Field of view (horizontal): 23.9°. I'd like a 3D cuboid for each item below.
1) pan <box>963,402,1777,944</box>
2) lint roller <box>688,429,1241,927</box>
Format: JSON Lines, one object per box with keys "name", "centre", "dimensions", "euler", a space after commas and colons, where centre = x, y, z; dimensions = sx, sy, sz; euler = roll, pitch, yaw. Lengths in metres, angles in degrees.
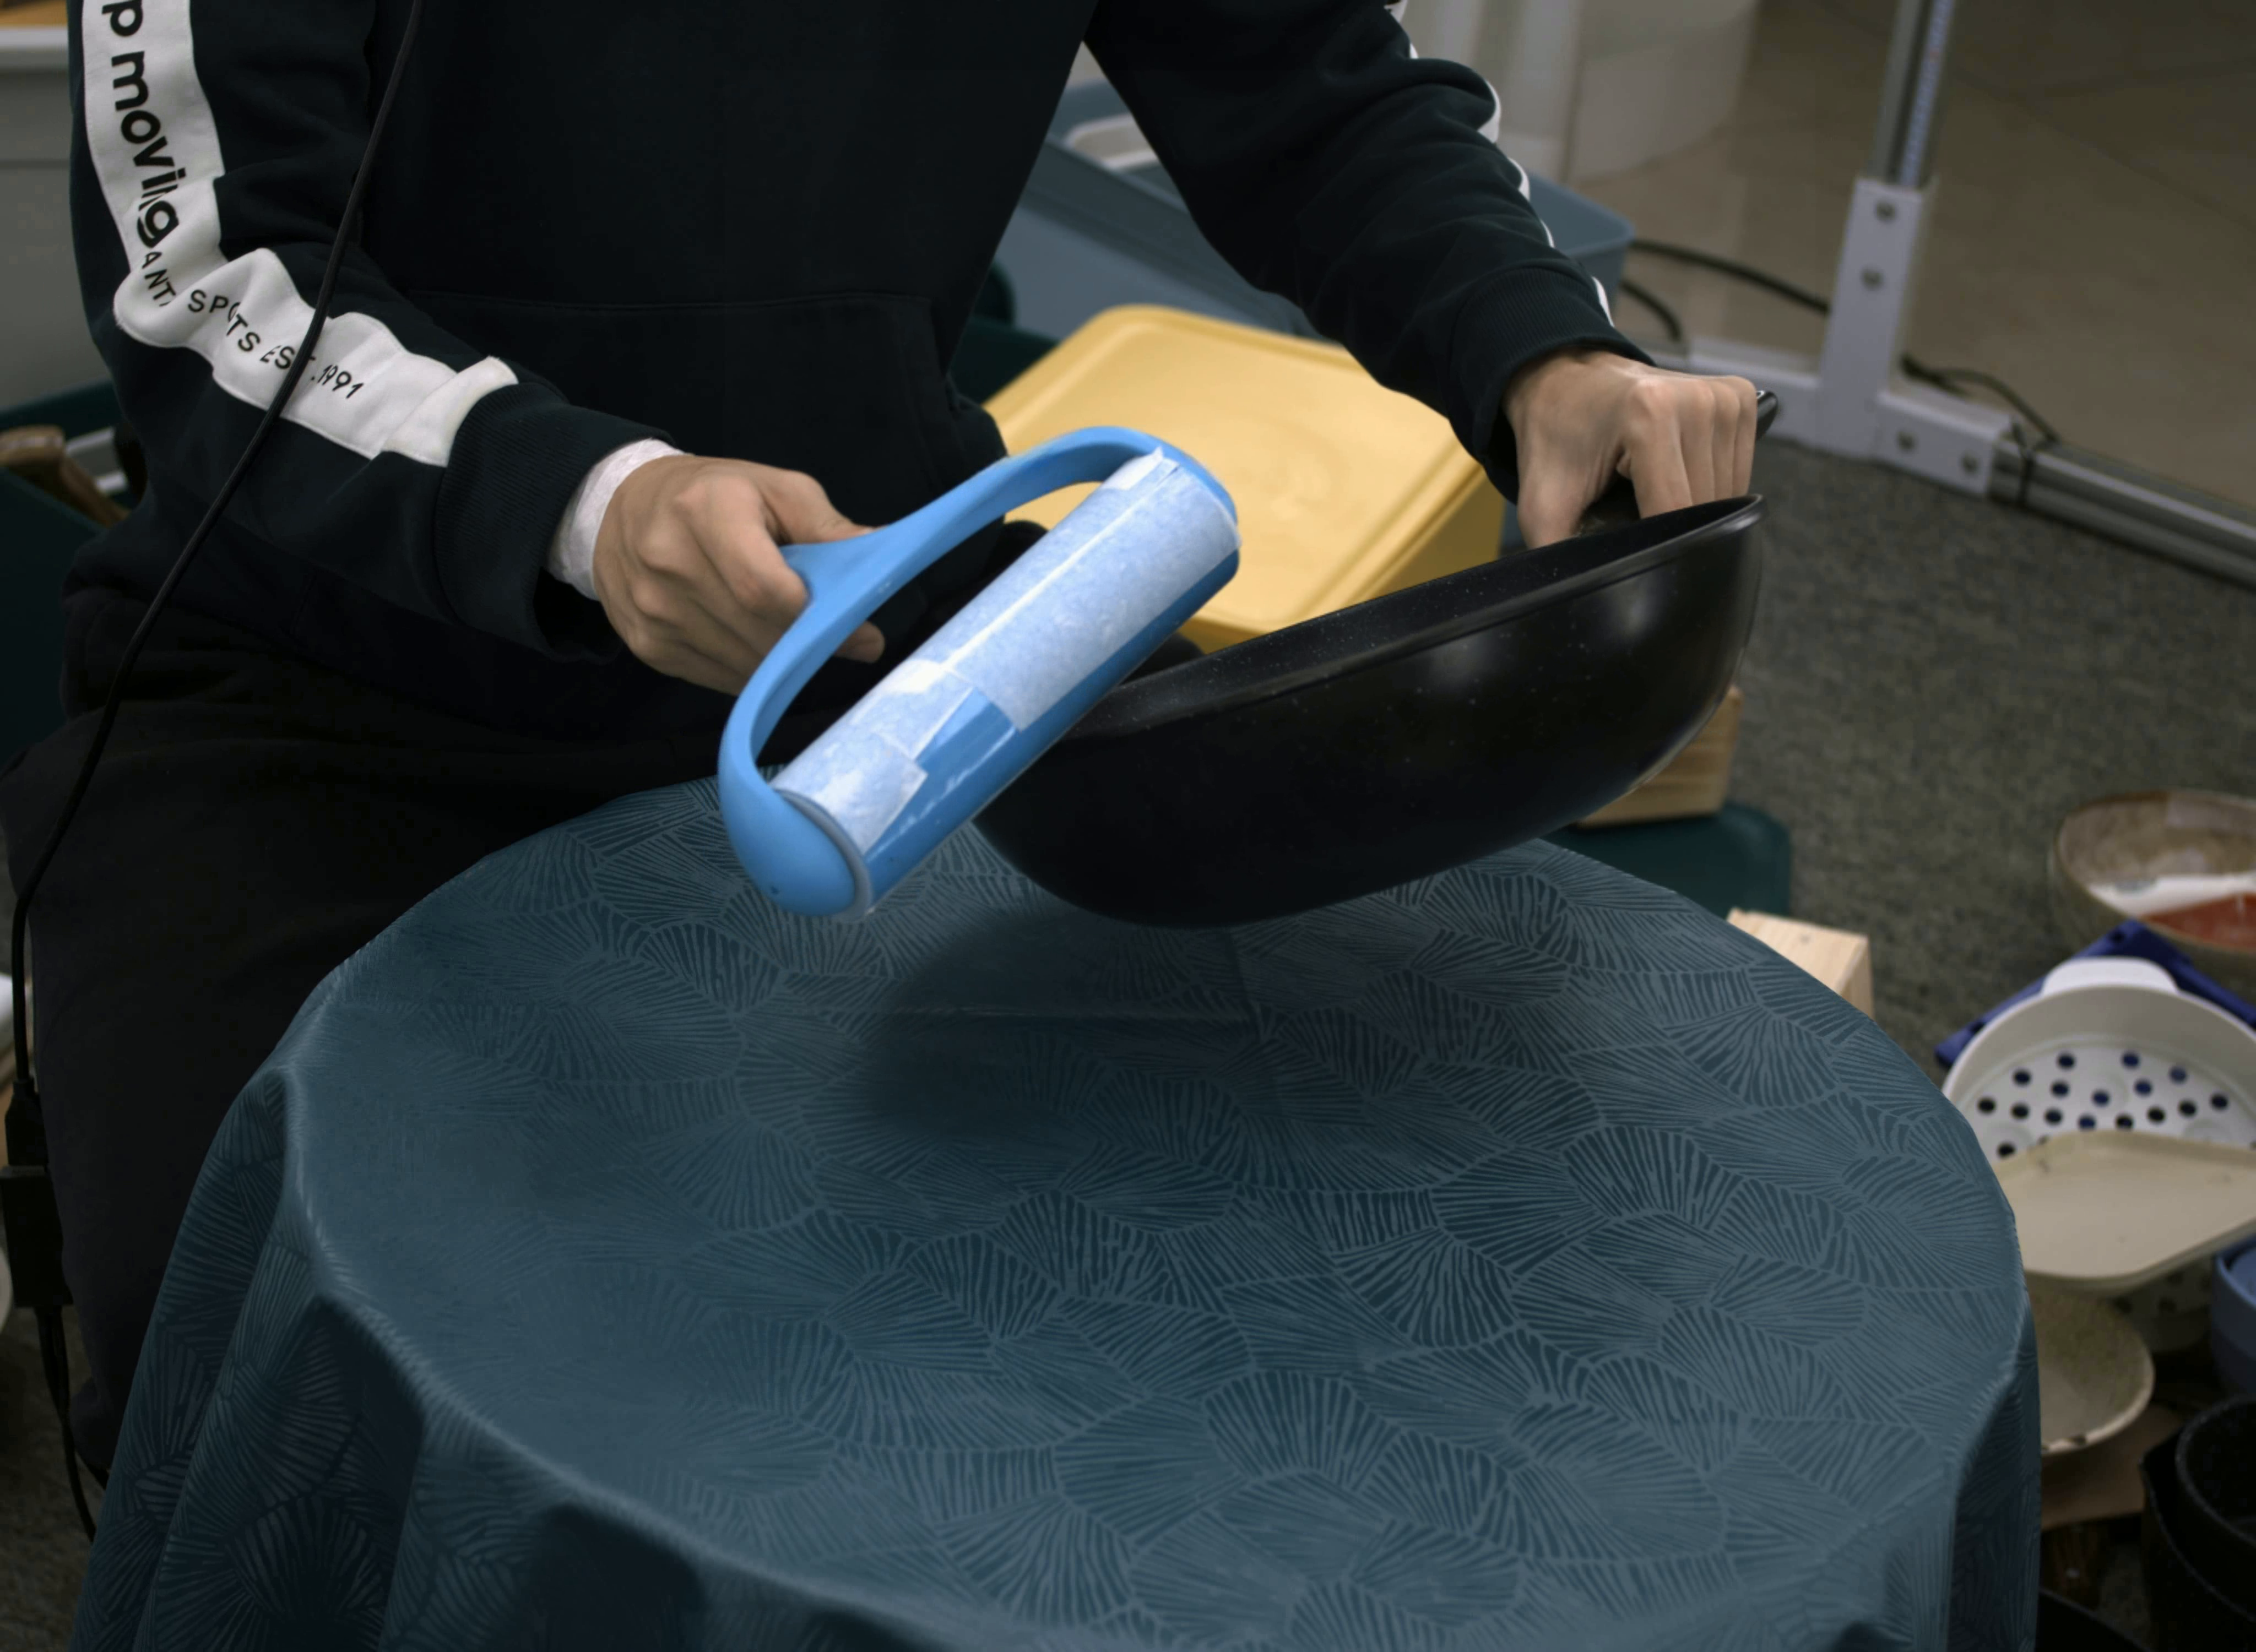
{"name": "pan", "centre": [0.129, -0.056, 1.922], "dimensions": [0.311, 0.112, 0.475], "euler": [-14, 6, 37]}
{"name": "lint roller", "centre": [-0.087, -0.060, 1.786], "dimensions": [0.181, 0.067, 0.229], "euler": [16, 49, 35]}
